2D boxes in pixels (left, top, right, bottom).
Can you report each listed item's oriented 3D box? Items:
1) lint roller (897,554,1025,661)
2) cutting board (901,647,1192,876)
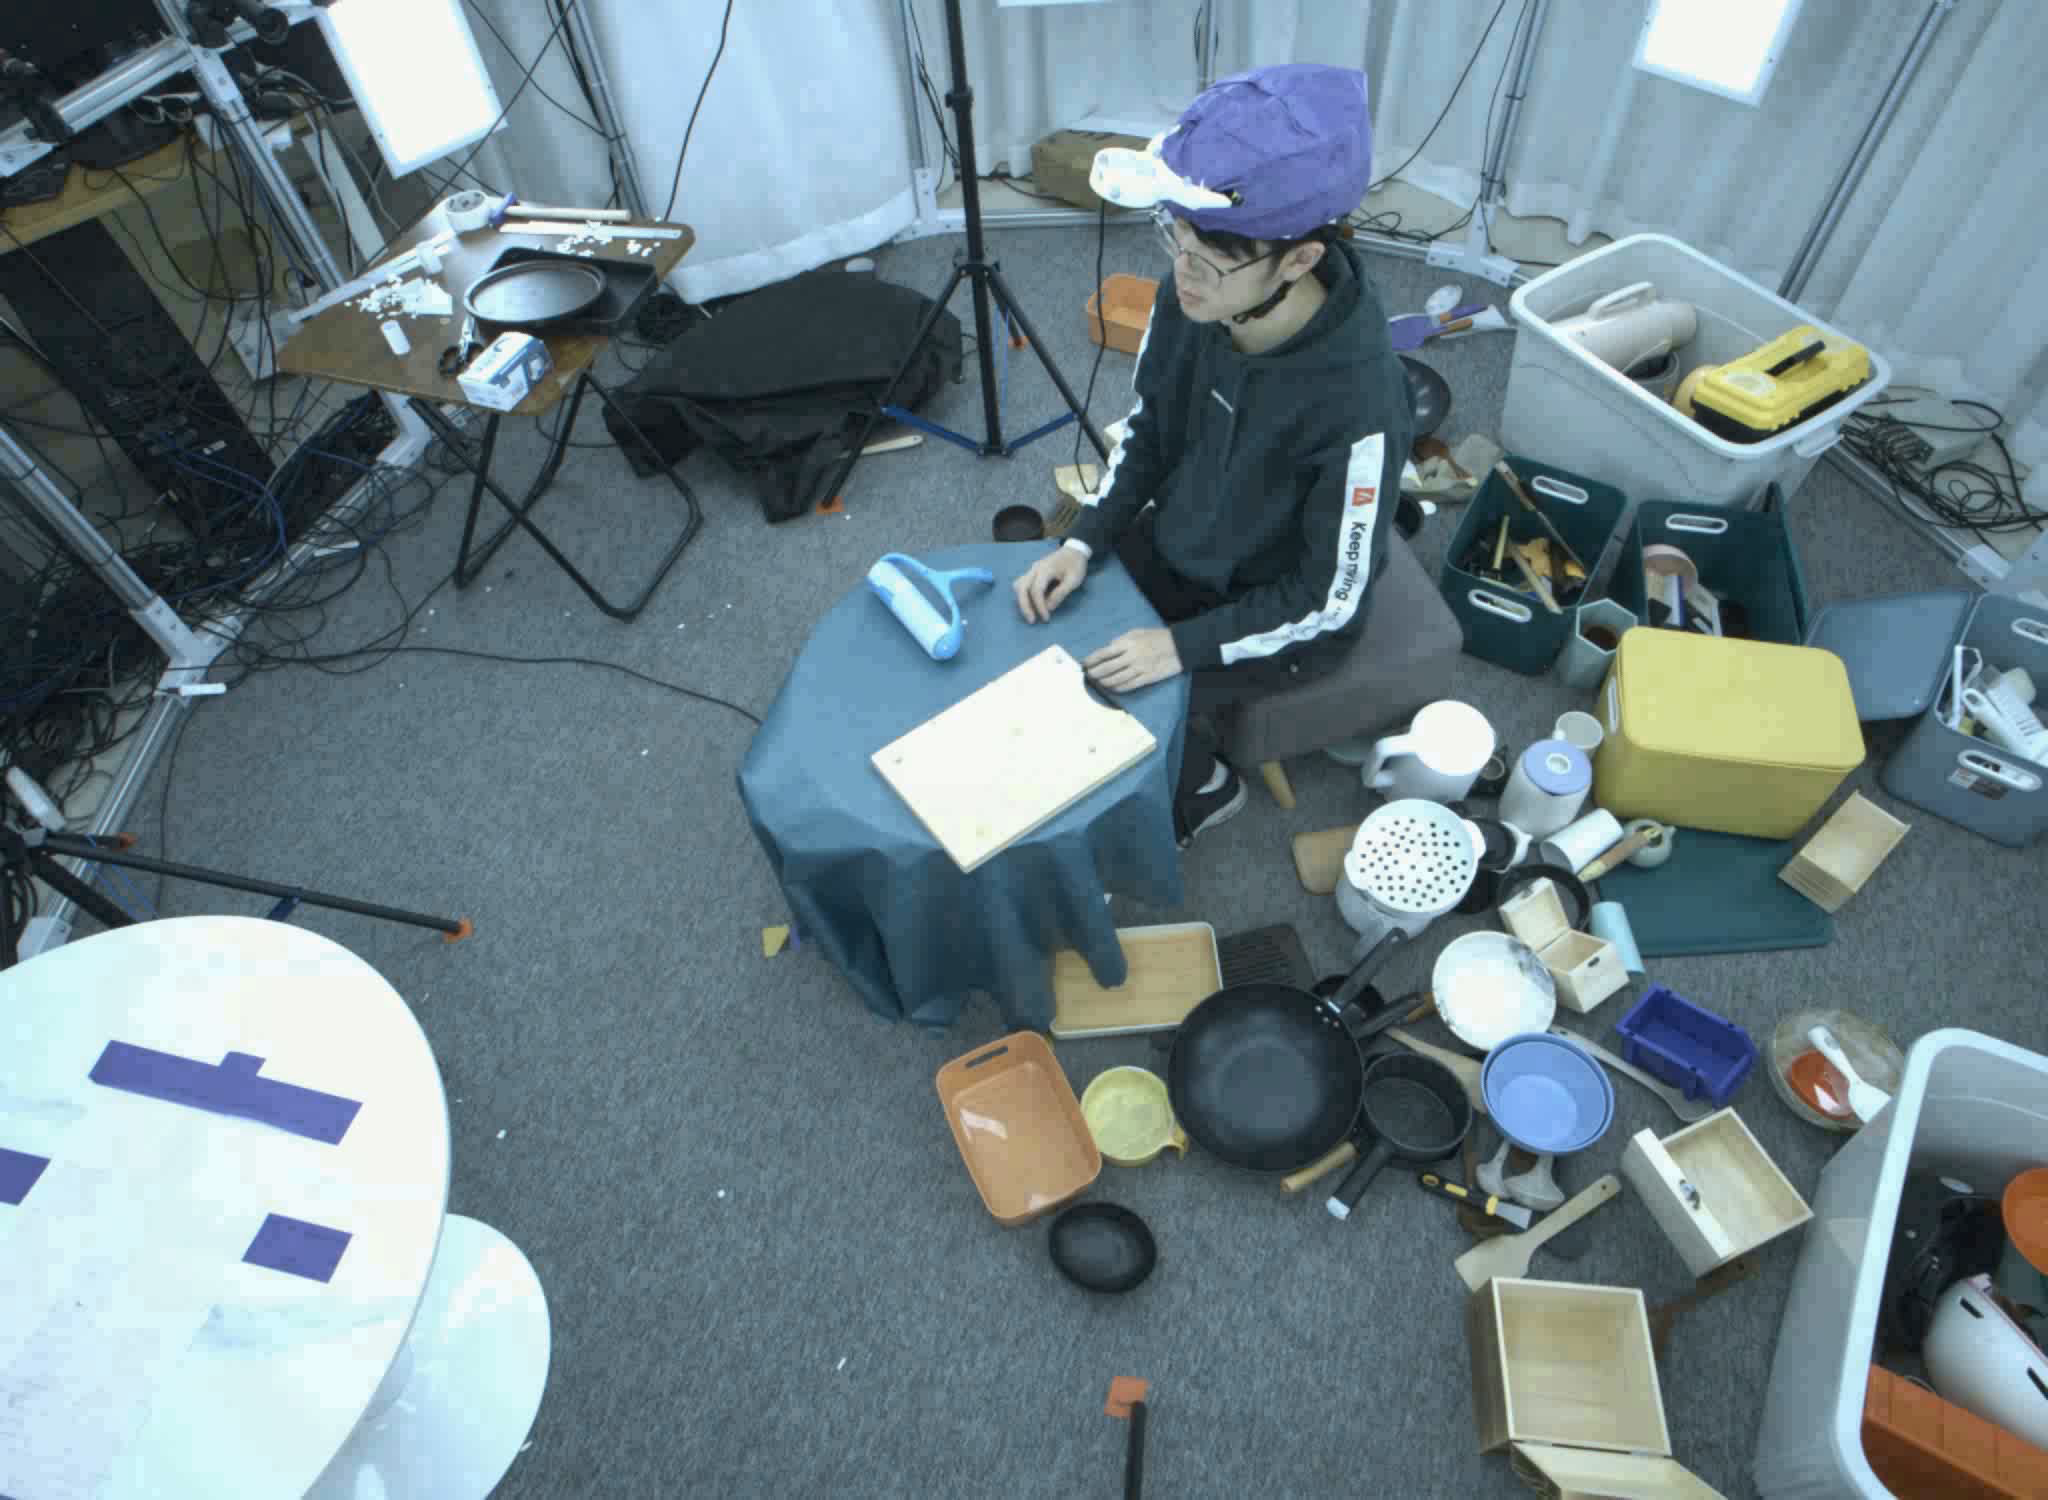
[{"bbox_3d":[-0.080,-0.249,1.927,0.181,0.069,0.224,-32,58,-18],"label":"lint roller"},{"bbox_3d":[0.029,0.007,1.767,0.351,0.024,0.246,-32,60,-19],"label":"cutting board"}]
